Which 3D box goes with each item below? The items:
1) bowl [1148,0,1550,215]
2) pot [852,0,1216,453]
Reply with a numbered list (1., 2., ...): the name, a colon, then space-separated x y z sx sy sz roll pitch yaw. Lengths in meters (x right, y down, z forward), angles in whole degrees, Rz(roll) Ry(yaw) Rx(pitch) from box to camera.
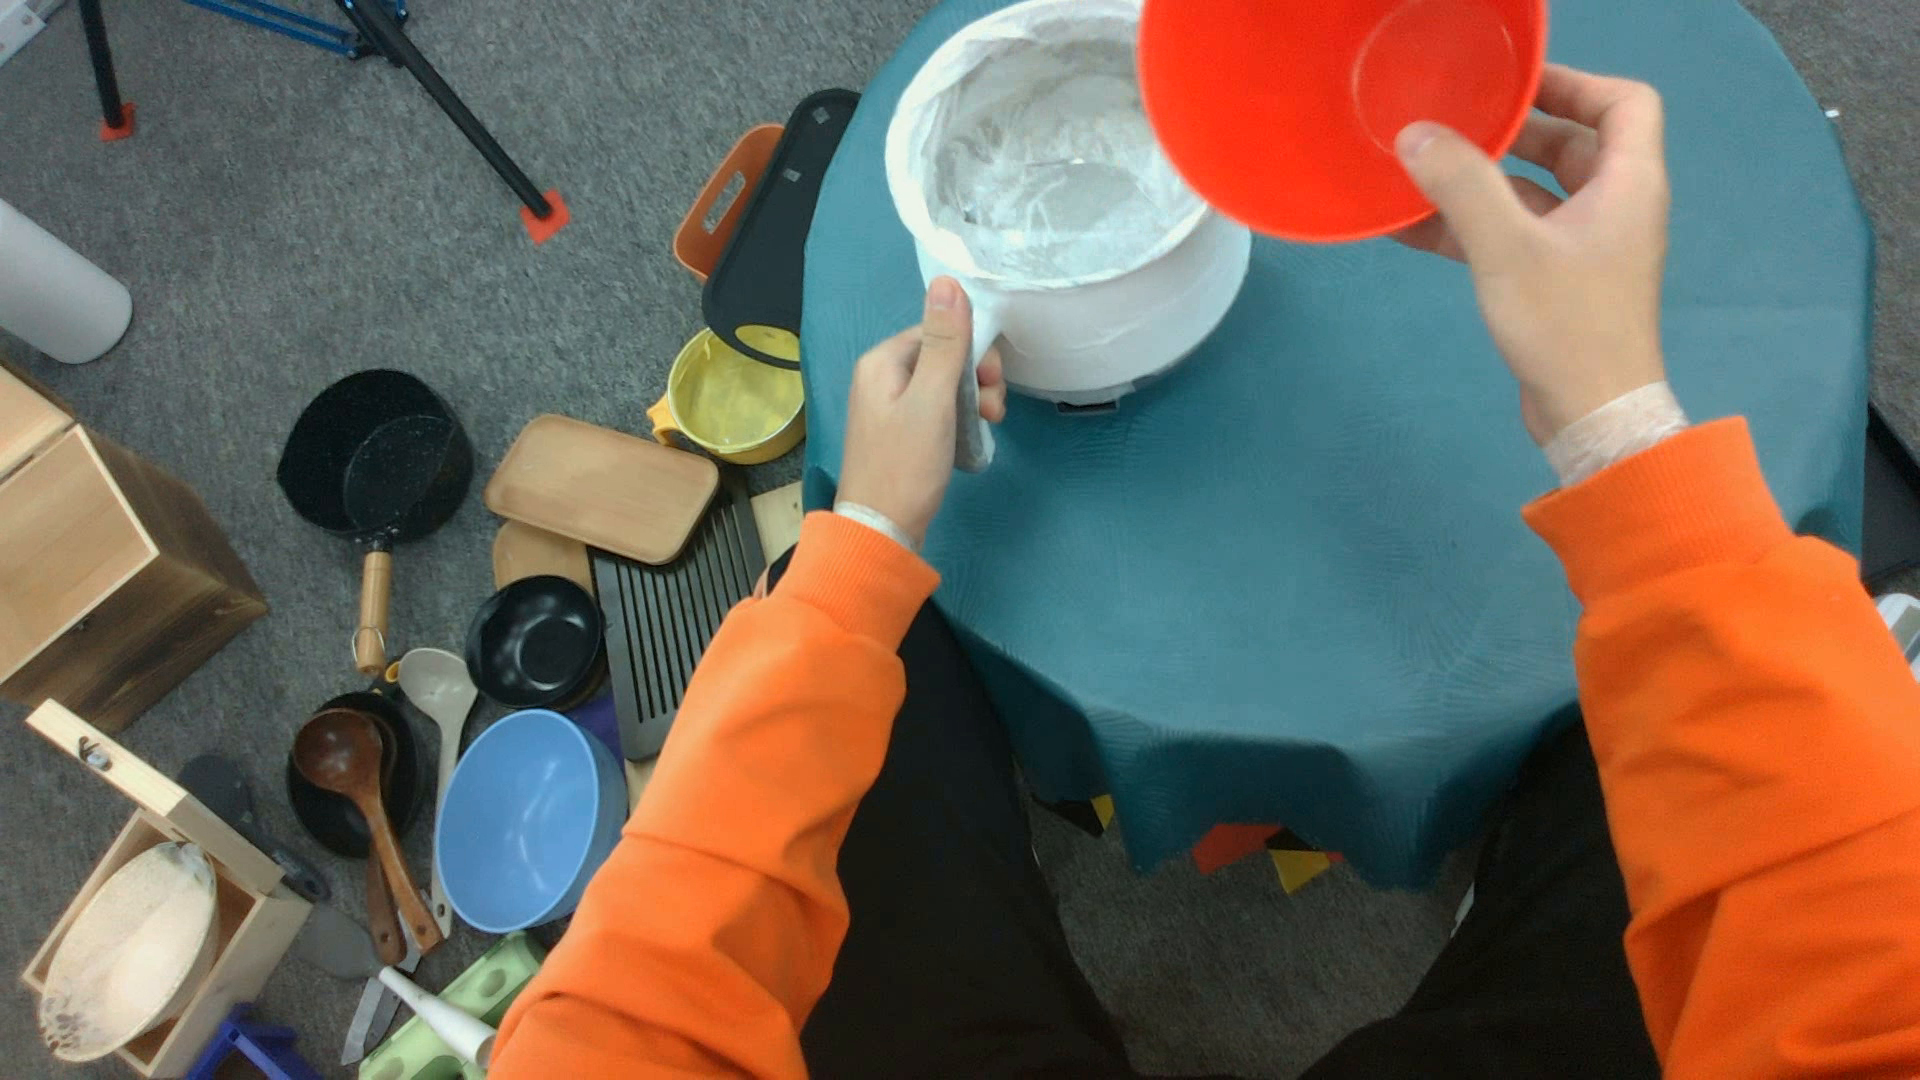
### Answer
1. bowl: 0.164 -0.201 0.556 0.147 0.105 0.148 2 95 30
2. pot: 0.032 -0.161 0.717 0.178 0.136 0.234 23 73 20
